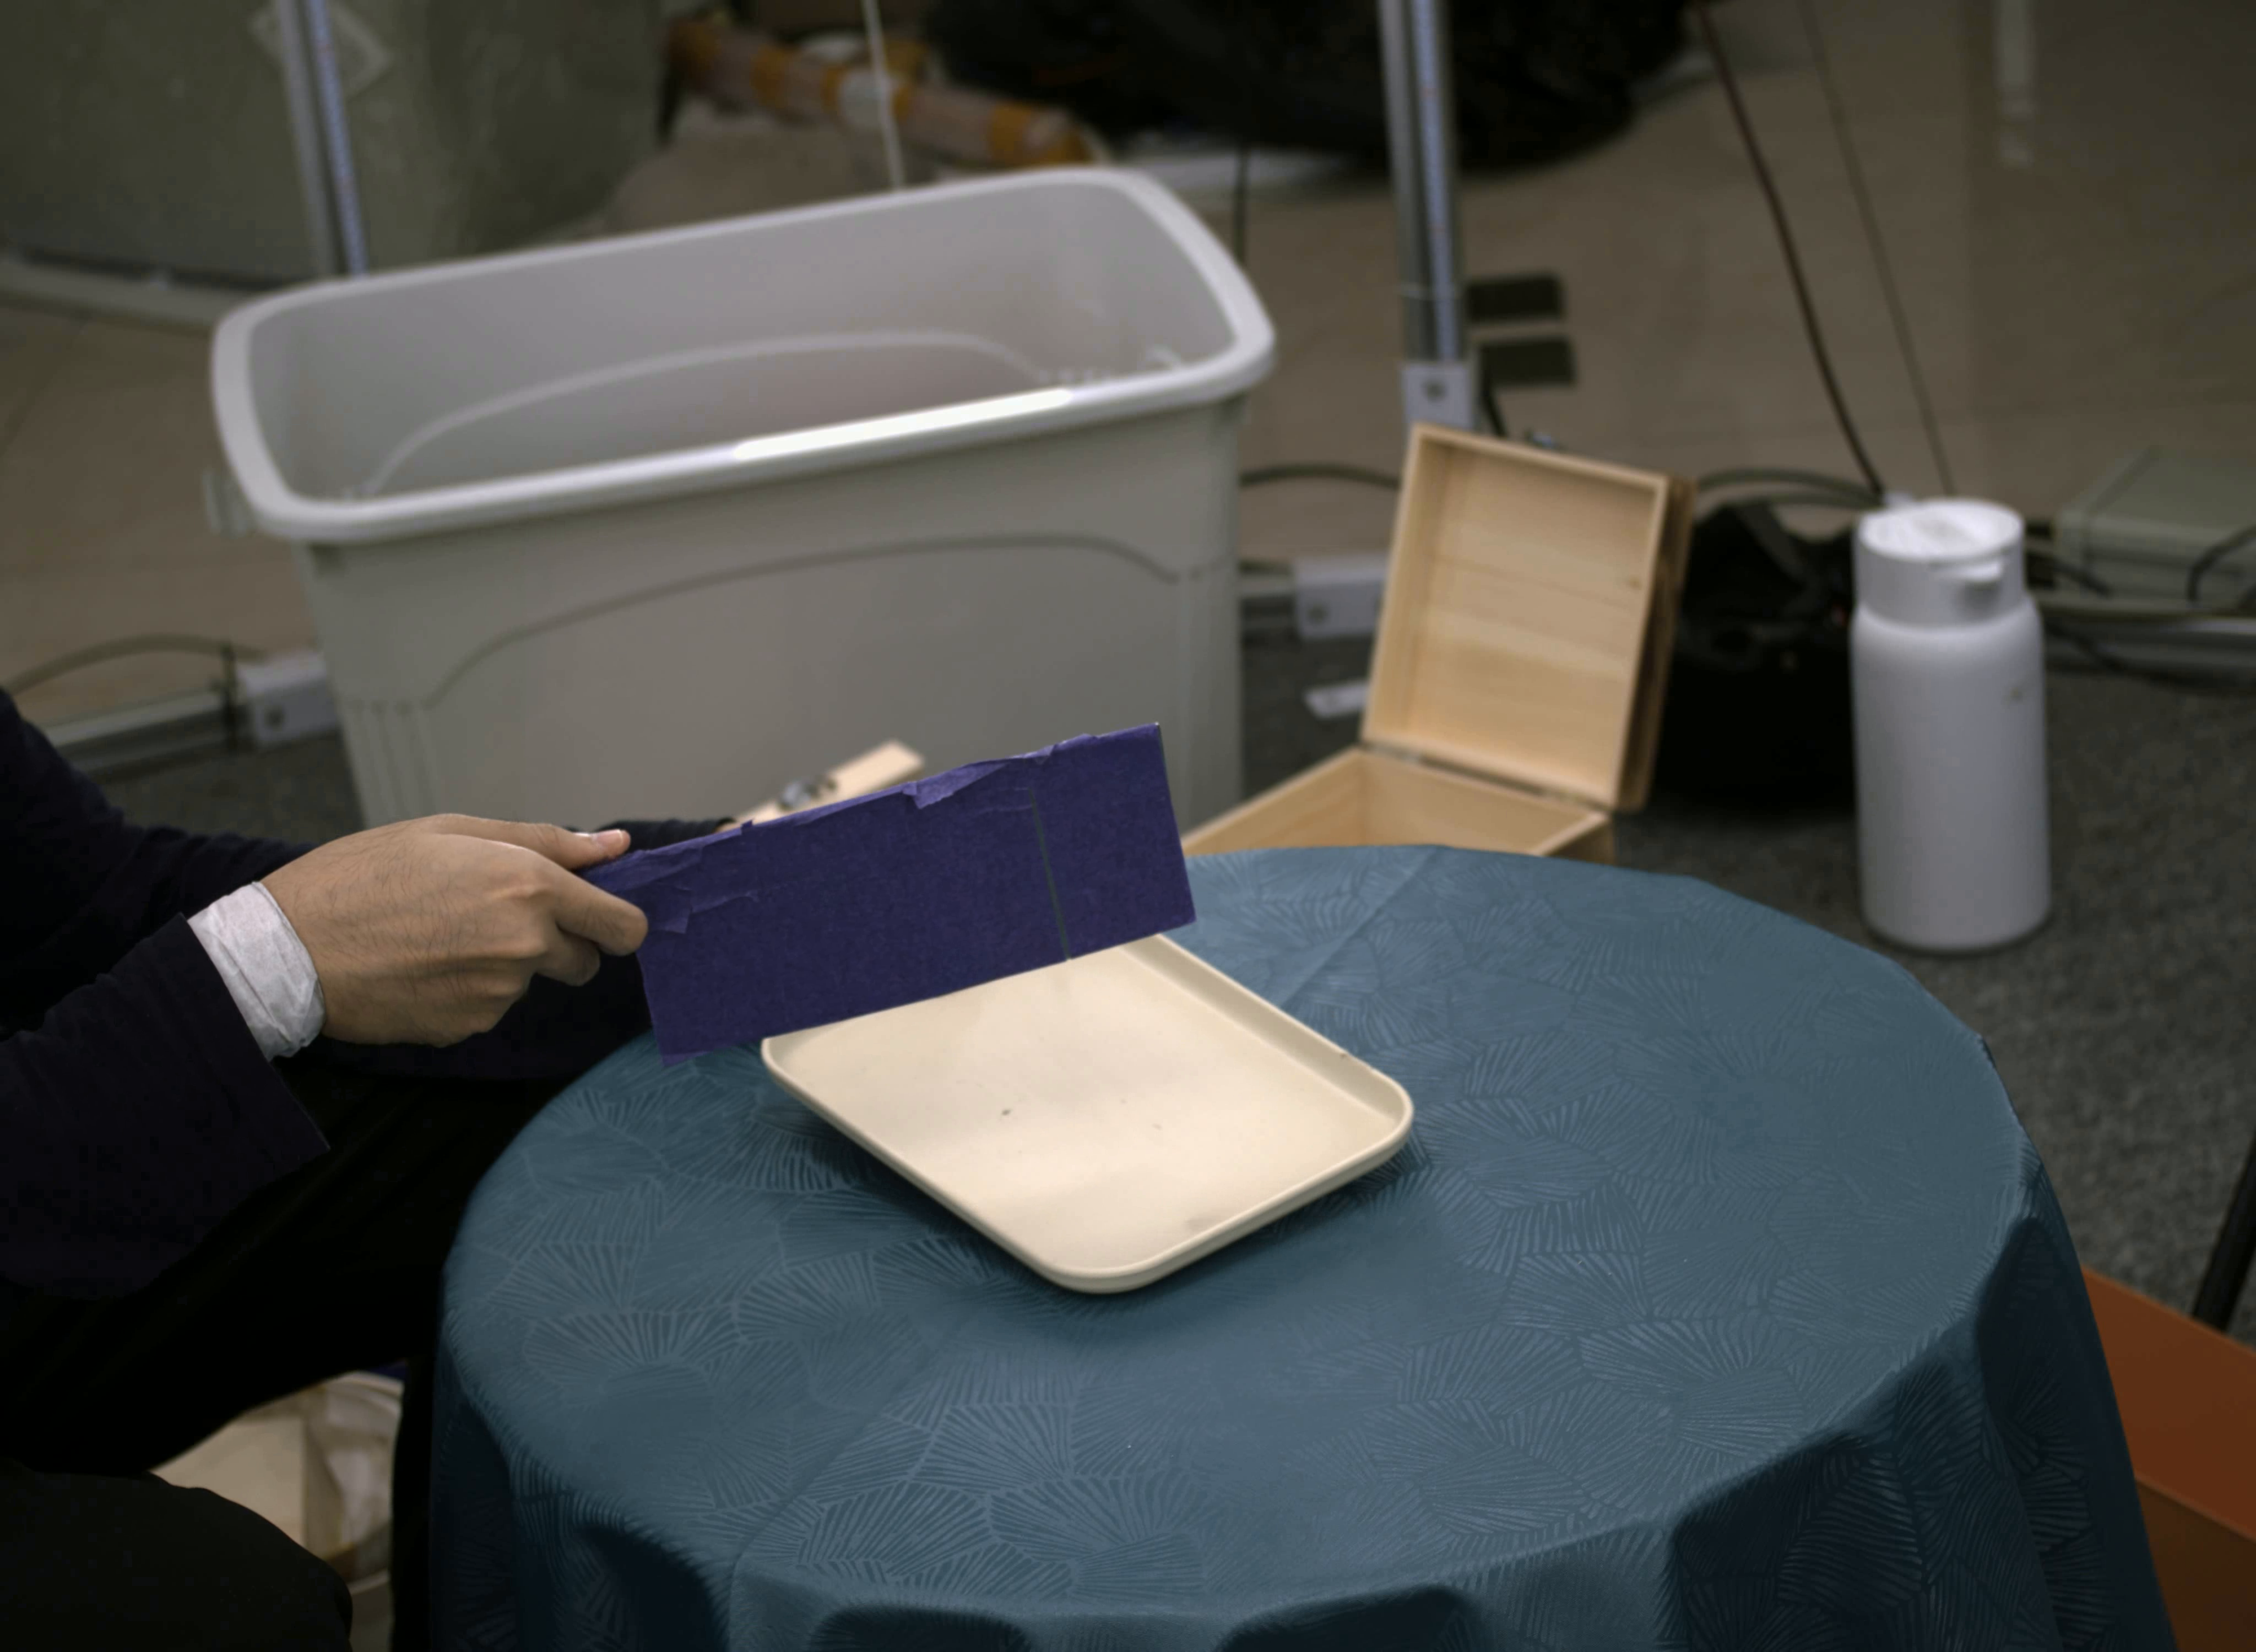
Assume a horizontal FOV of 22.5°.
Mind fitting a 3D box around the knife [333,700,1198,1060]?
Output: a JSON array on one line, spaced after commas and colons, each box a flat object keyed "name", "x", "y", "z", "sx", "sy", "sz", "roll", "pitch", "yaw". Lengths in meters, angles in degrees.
[{"name": "knife", "x": -0.128, "y": 0.037, "z": 2.070, "sx": 0.314, "sy": 0.106, "sz": 0.032, "roll": -14, "pitch": 31, "yaw": -6}]

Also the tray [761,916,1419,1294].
[{"name": "tray", "x": -0.016, "y": 0.103, "z": 2.184, "sx": 0.170, "sy": 0.018, "sz": 0.237, "roll": -25, "pitch": 36, "yaw": -30}]
